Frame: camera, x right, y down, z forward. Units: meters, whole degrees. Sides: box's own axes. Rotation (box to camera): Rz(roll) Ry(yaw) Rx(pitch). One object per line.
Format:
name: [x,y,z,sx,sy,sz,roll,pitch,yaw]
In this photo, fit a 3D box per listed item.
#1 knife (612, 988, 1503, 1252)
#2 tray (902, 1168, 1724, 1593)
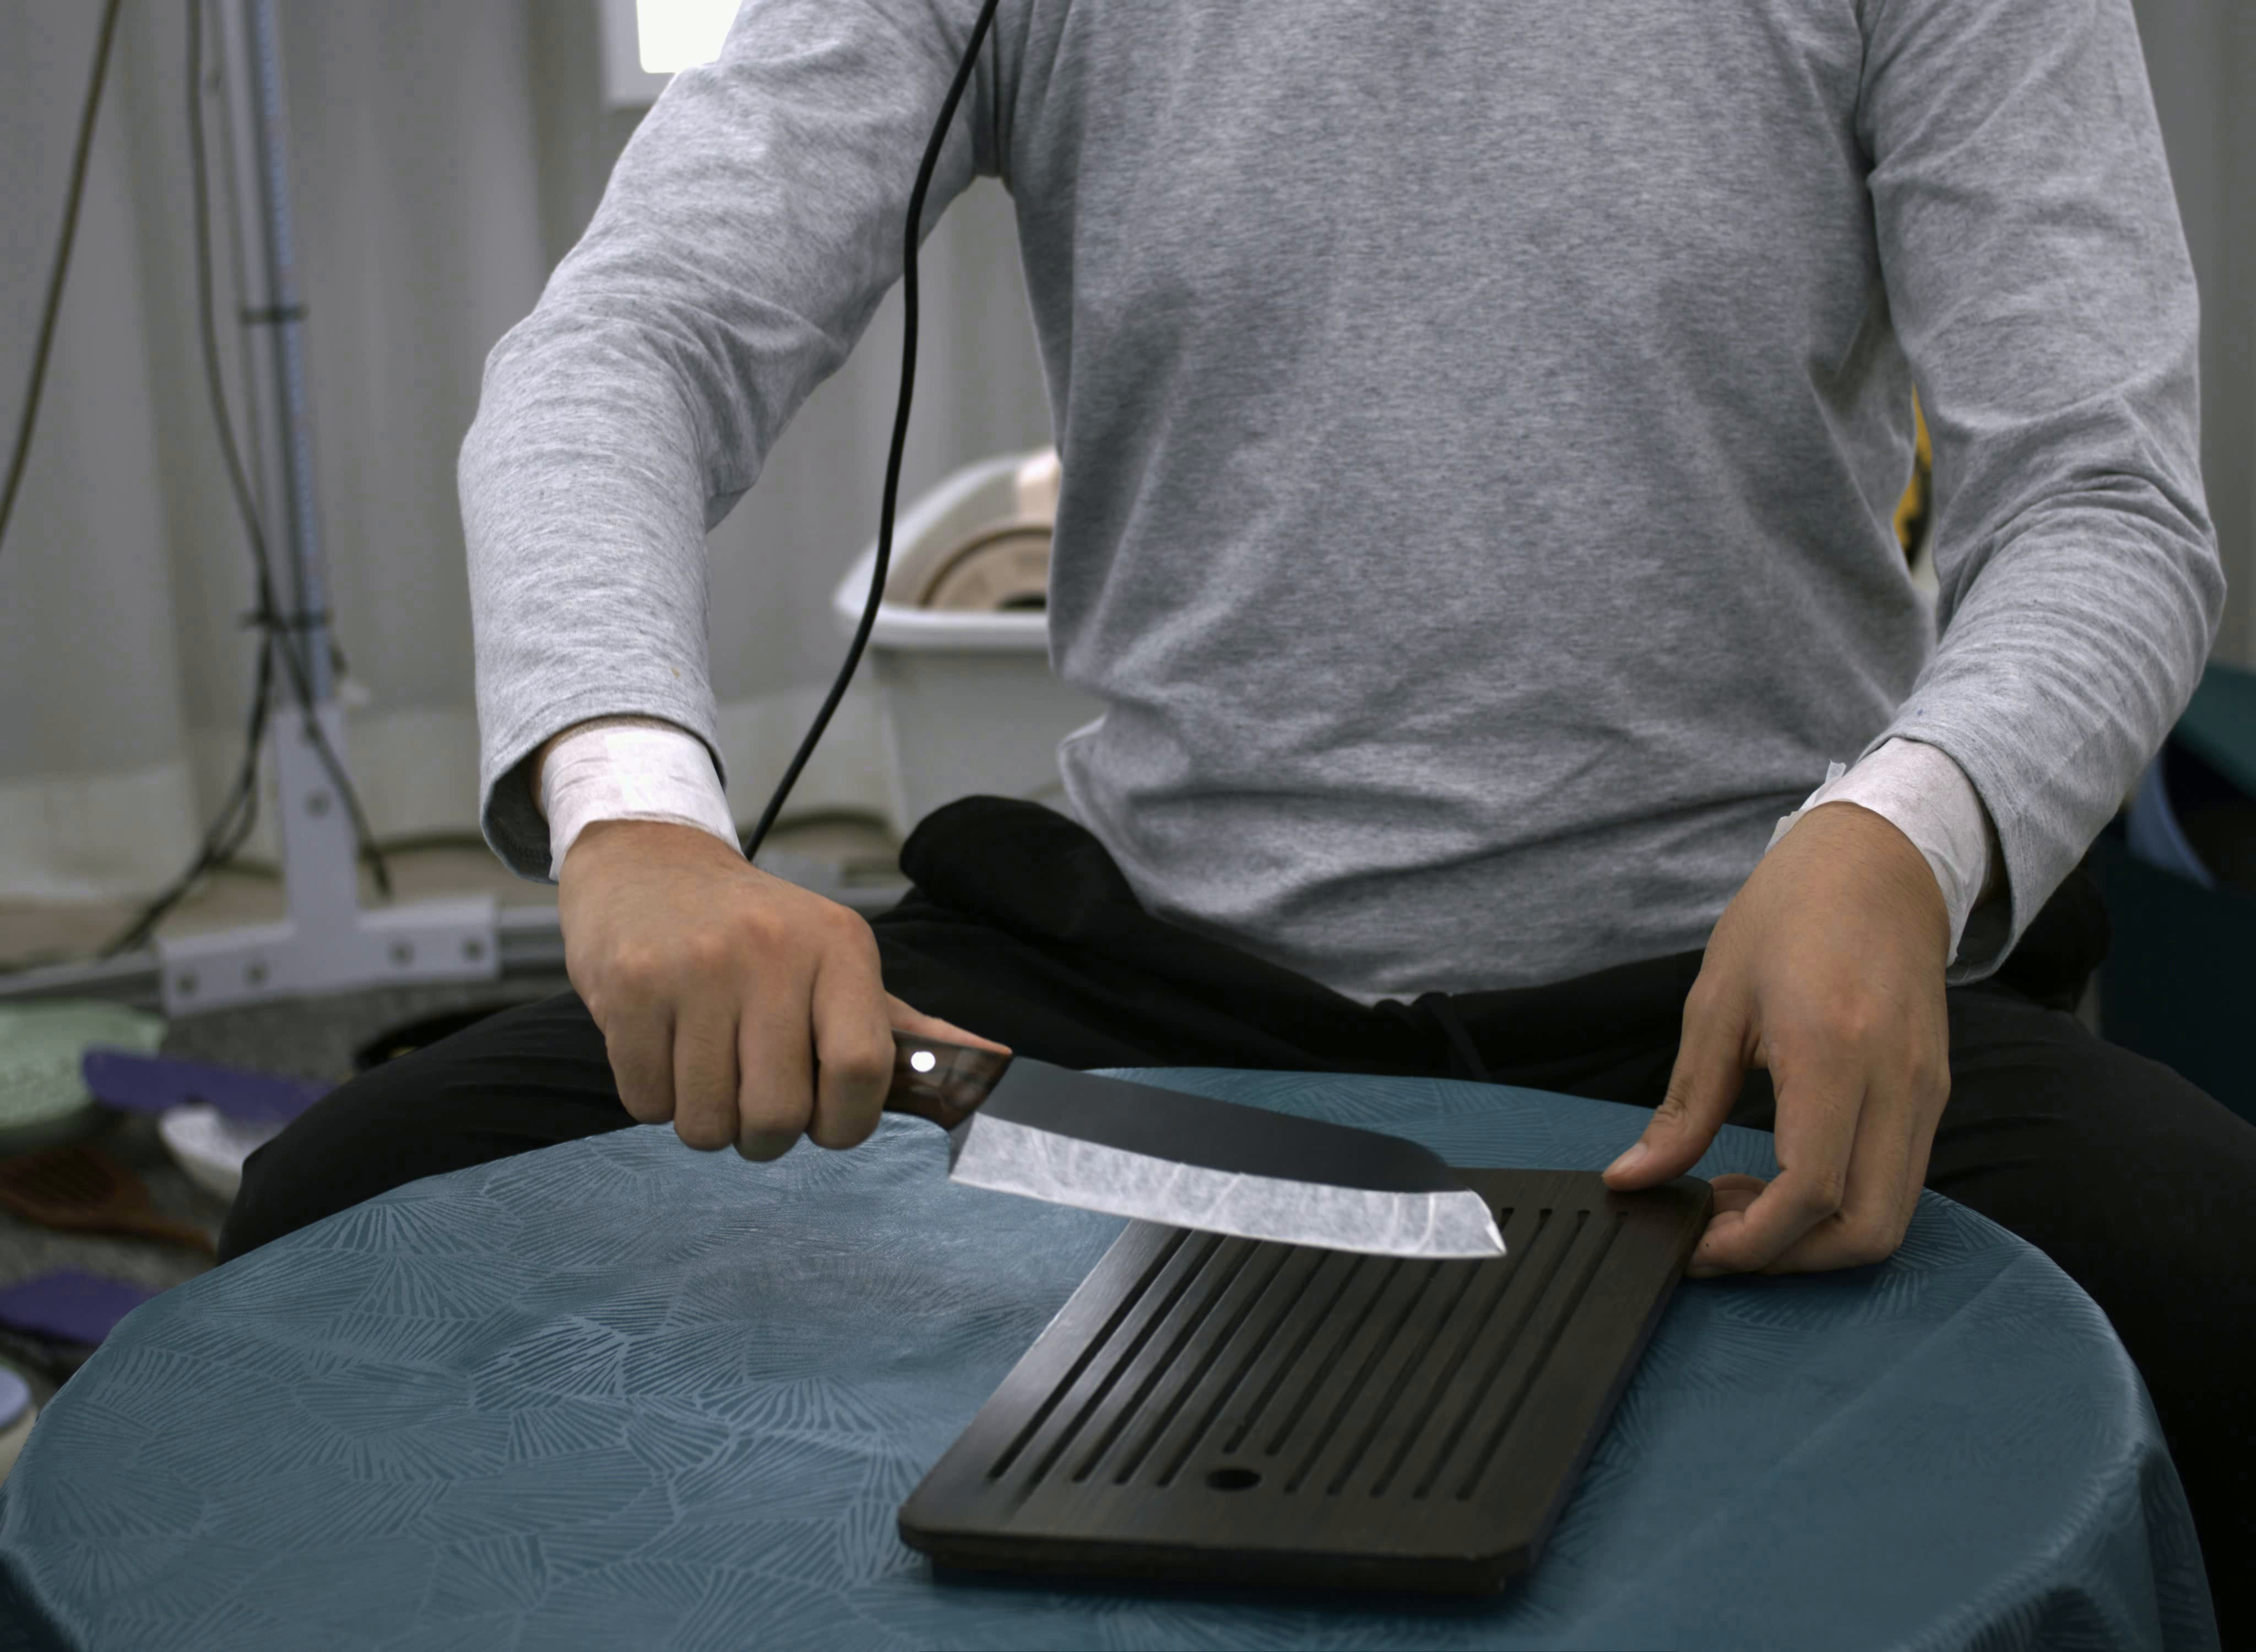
knife: [-0.025,0.086,1.590,0.290,0.020,0.051,12,60,22]
tray: [0.061,0.151,1.532,0.170,0.018,0.307,1,15,16]
